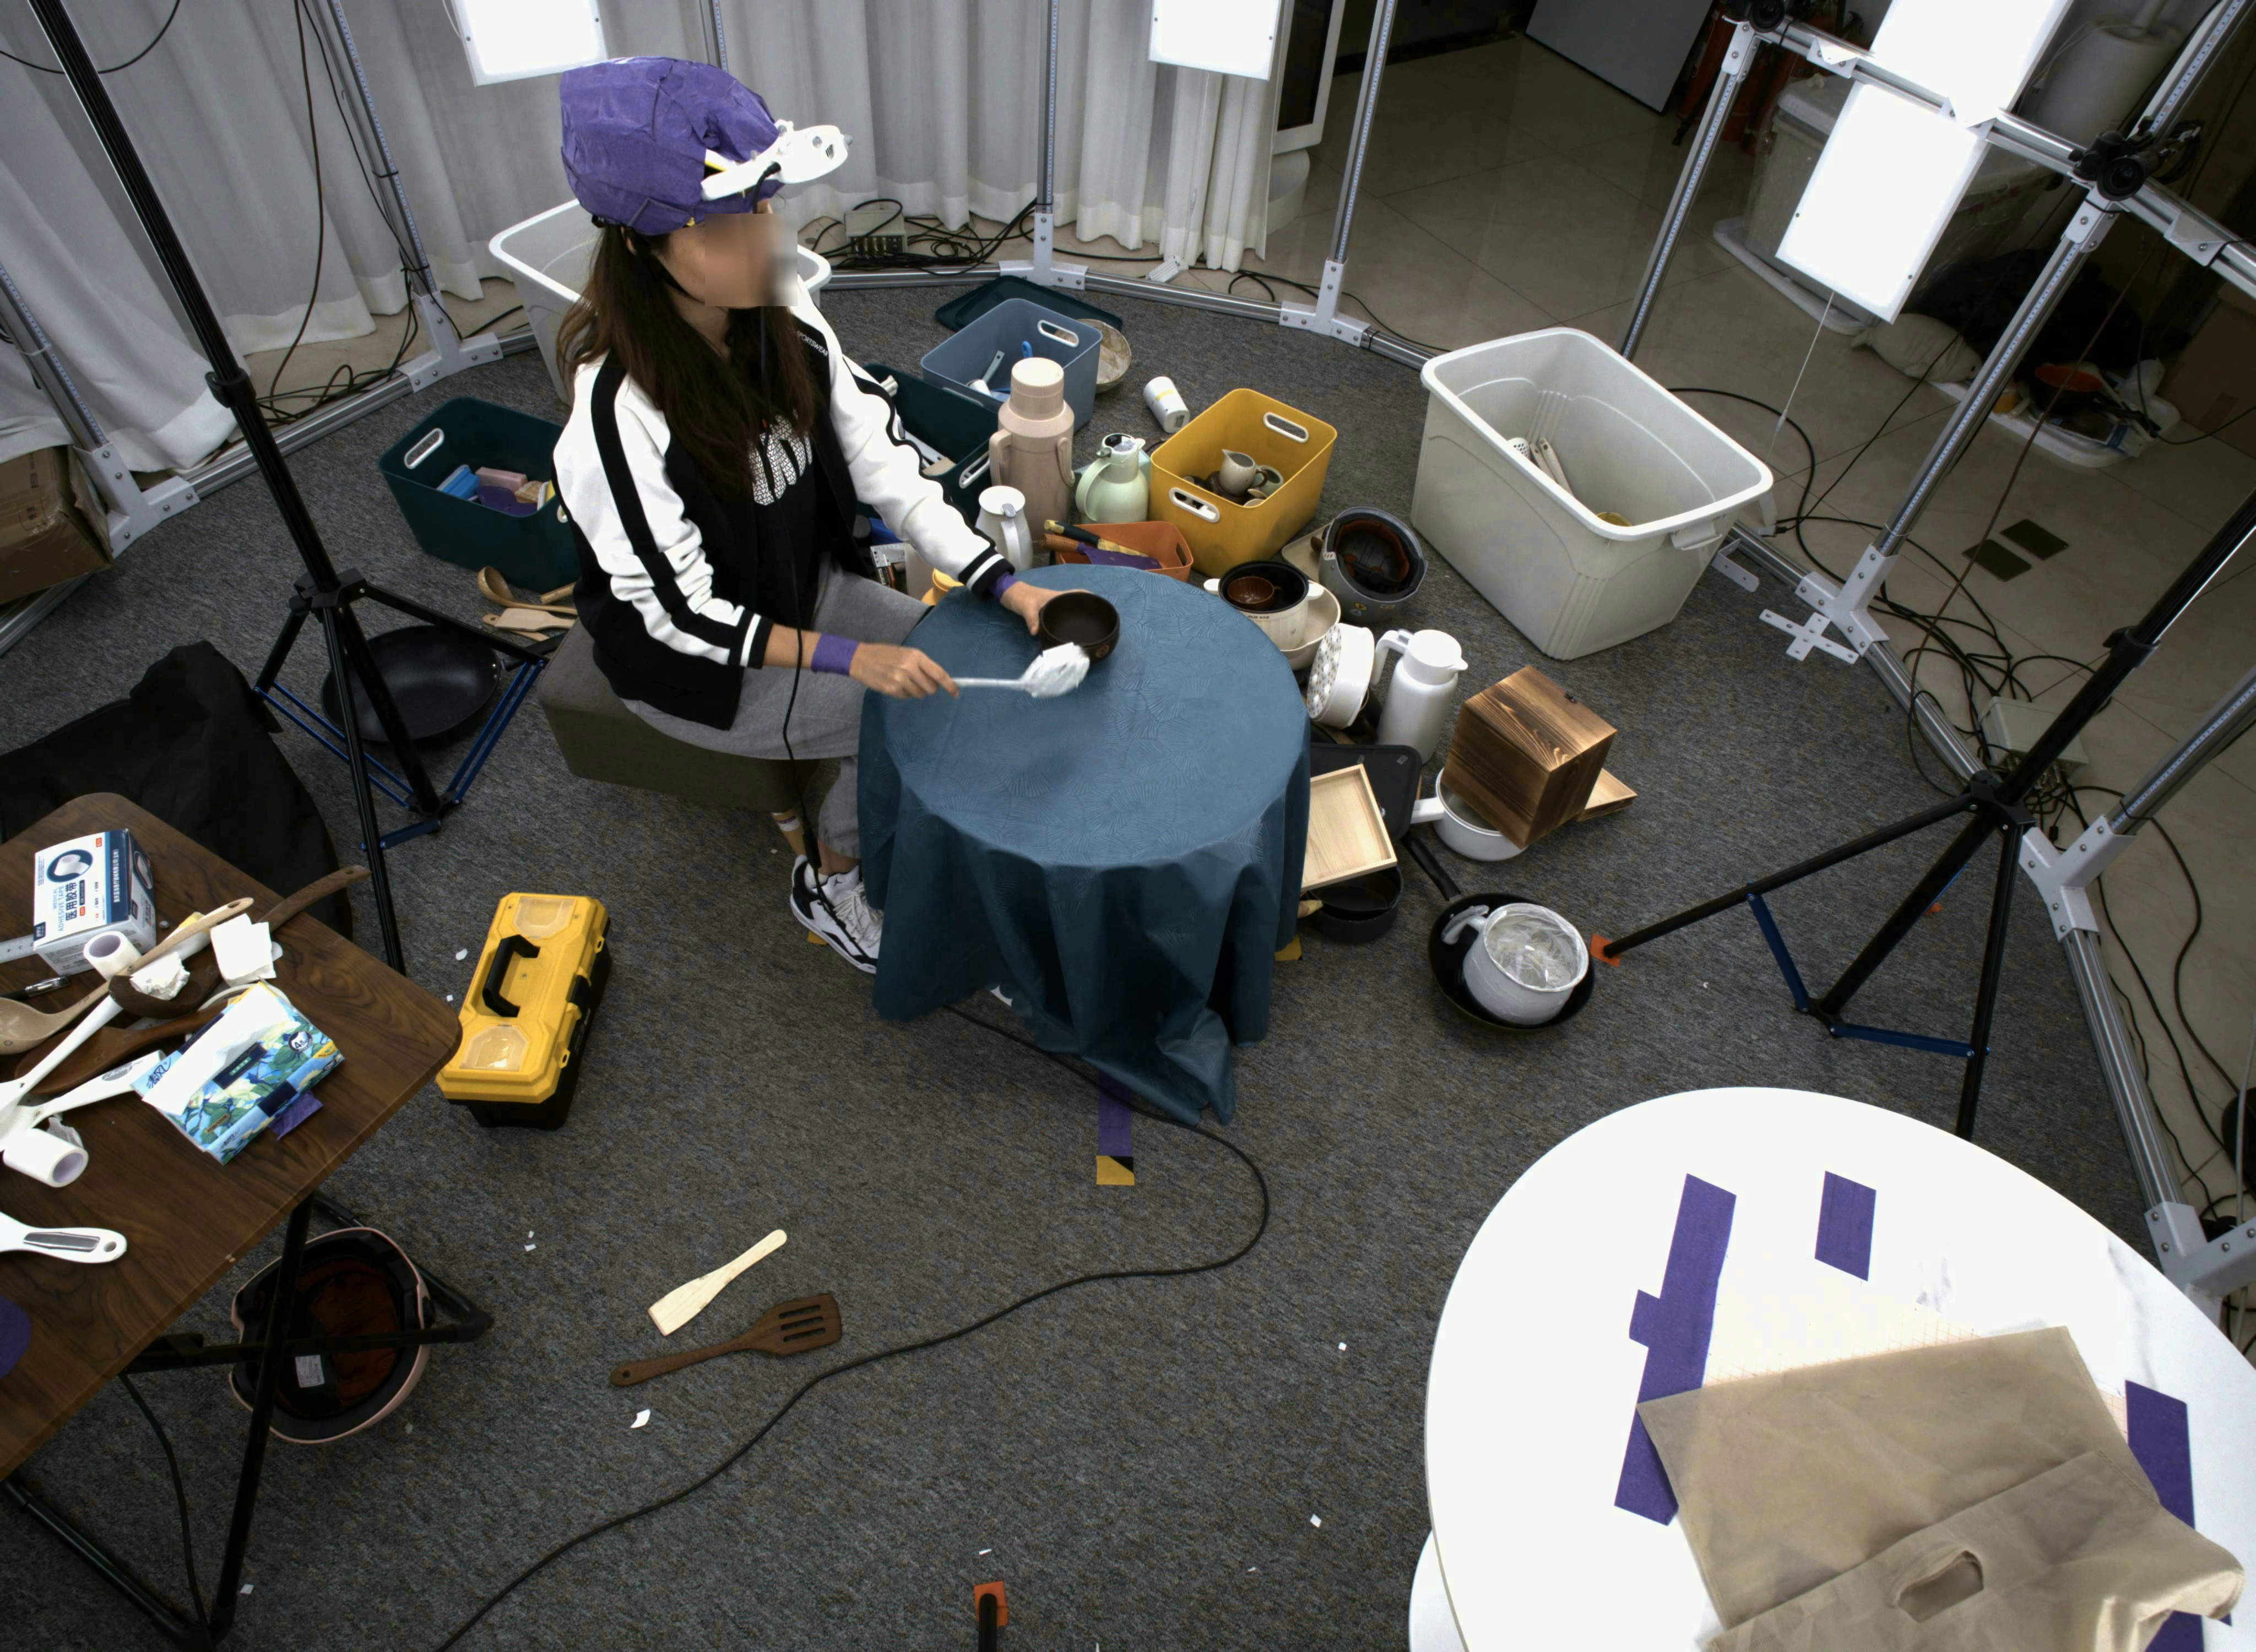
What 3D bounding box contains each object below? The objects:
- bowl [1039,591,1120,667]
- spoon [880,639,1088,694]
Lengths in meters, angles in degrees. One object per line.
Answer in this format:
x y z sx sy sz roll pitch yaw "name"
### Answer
-0.071 -0.277 1.858 0.118 0.068 0.121 2 49 -3 "bowl"
-0.191 -0.212 1.708 0.278 0.098 0.060 3 59 14 "spoon"
